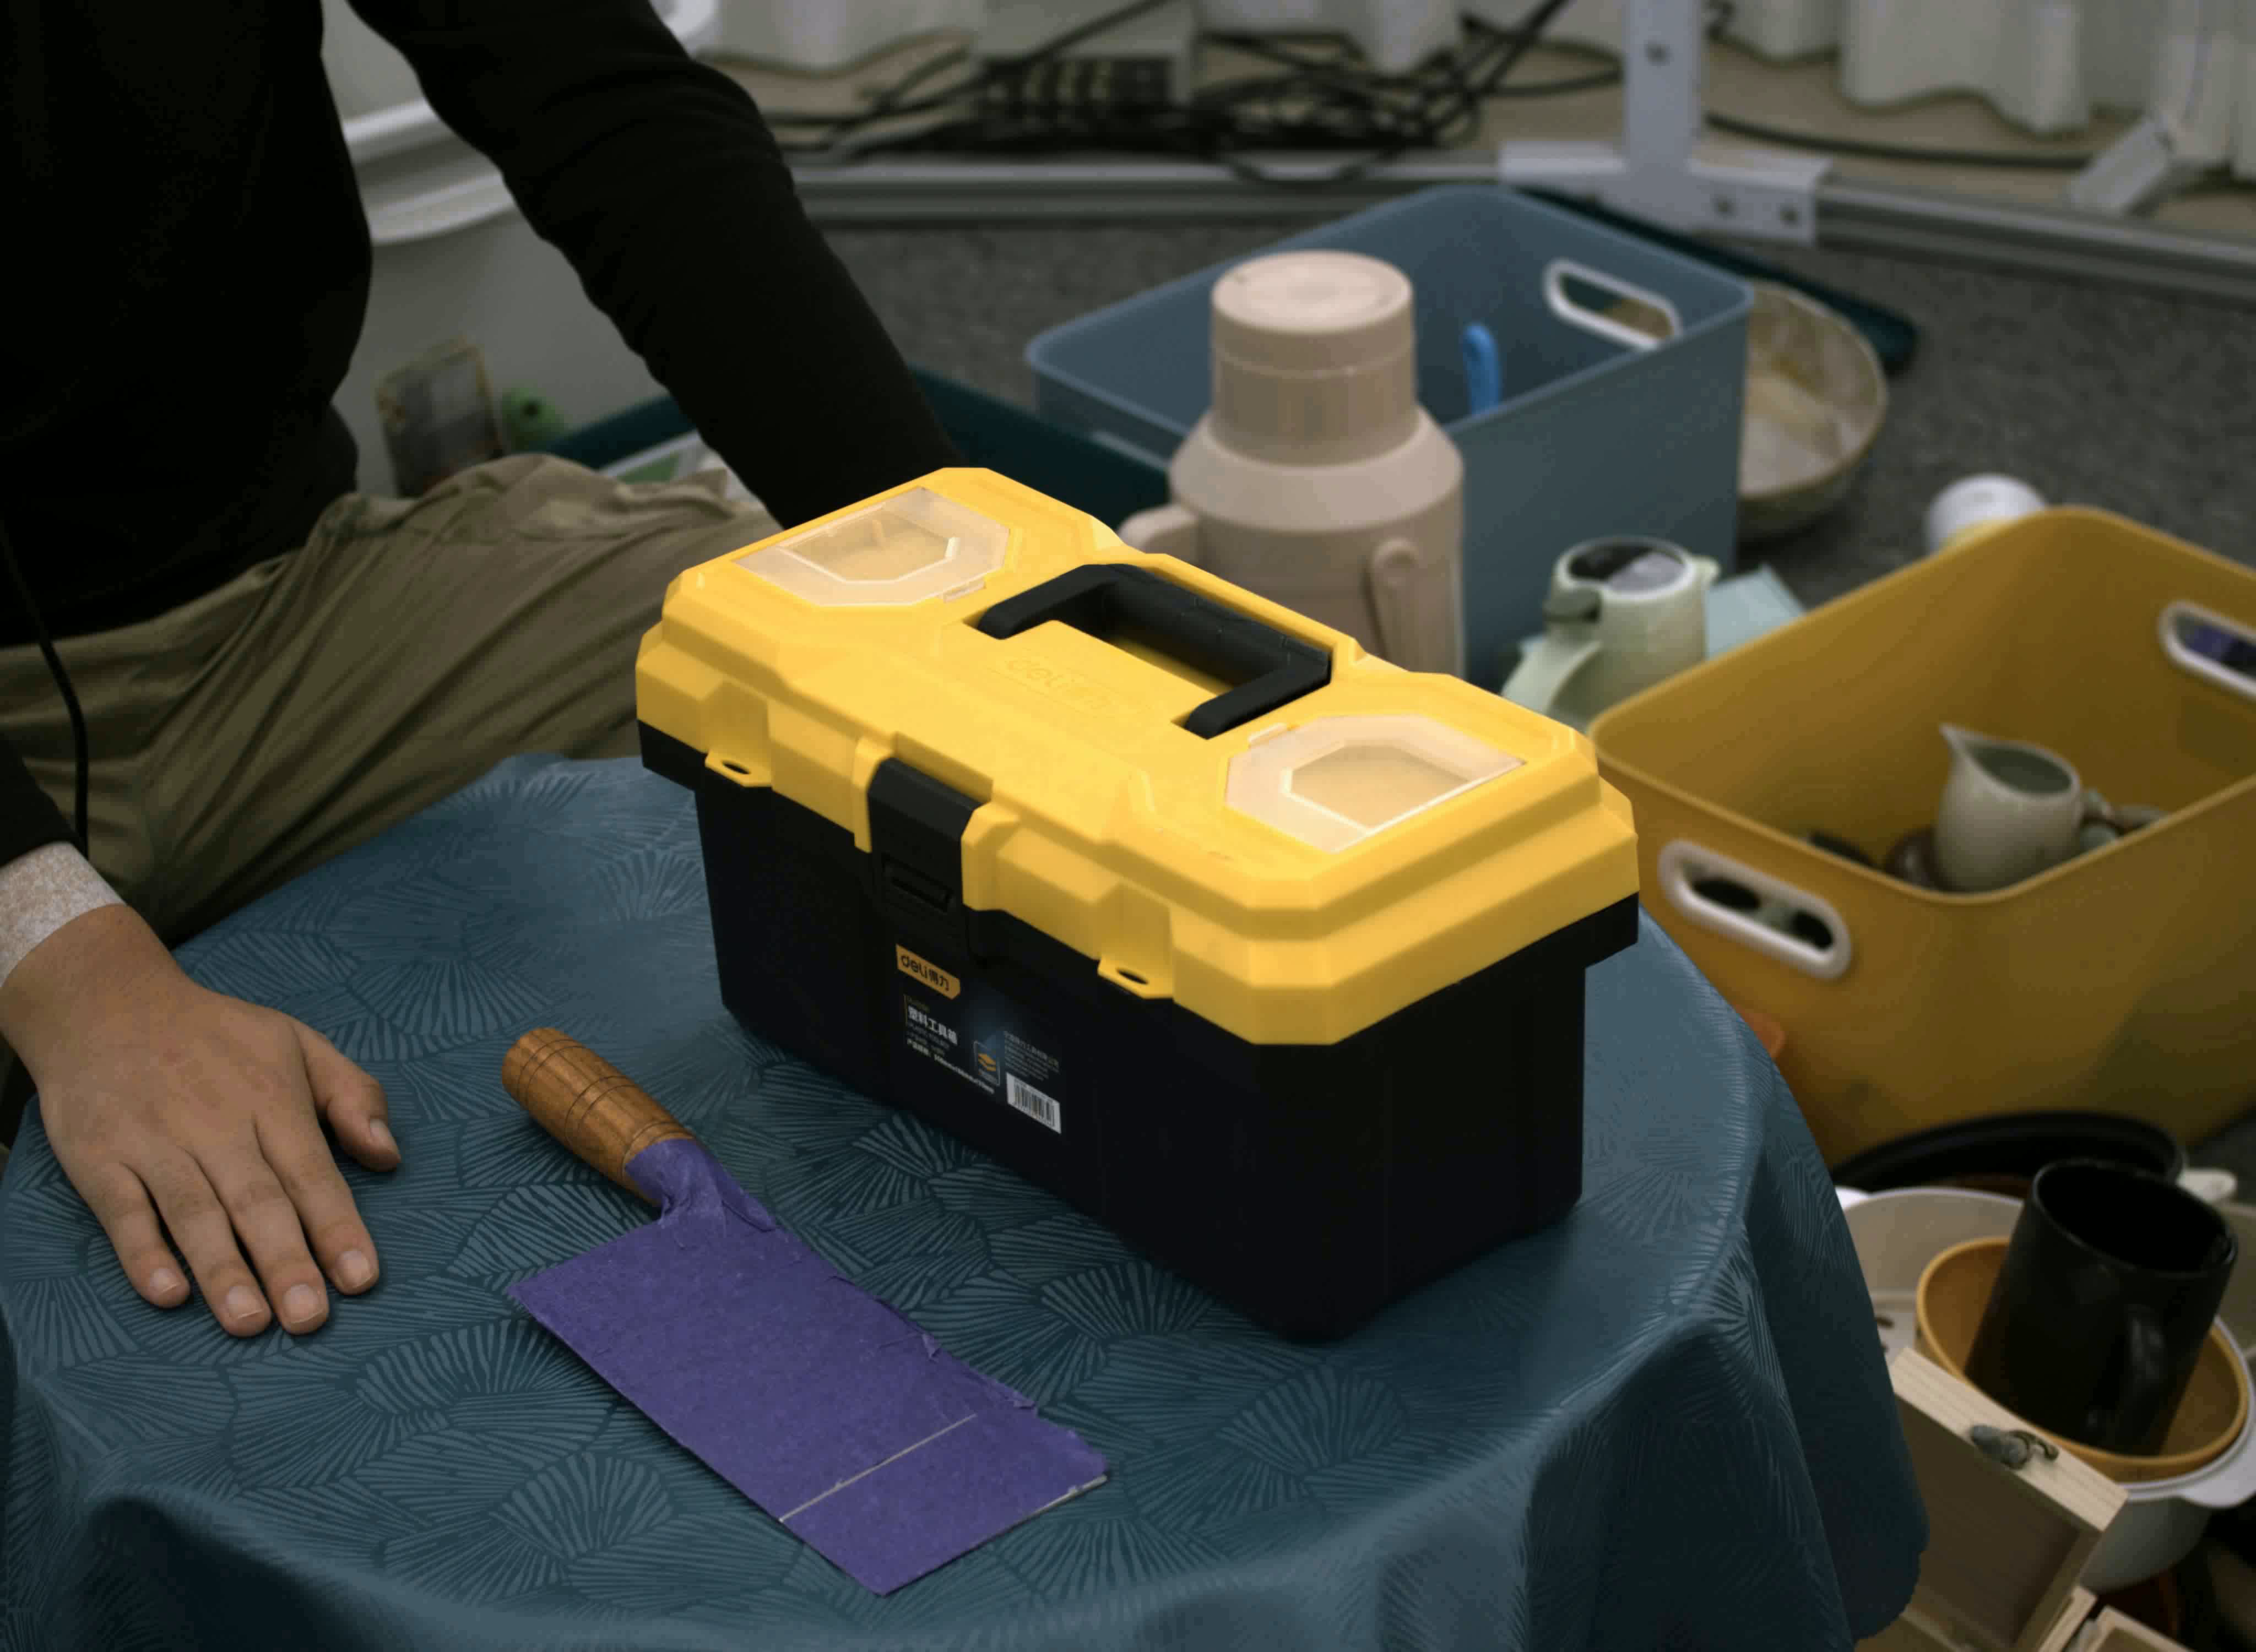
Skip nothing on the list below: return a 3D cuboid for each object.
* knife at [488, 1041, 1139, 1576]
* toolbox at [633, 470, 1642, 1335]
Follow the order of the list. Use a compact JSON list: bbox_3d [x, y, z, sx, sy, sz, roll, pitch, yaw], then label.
[{"bbox_3d":[-0.132,0.150,1.790,0.105,0.032,0.315,-22,34,-33],"label":"knife"},{"bbox_3d":[-0.002,0.020,1.872,0.183,0.171,0.351,-22,32,-35],"label":"toolbox"}]
